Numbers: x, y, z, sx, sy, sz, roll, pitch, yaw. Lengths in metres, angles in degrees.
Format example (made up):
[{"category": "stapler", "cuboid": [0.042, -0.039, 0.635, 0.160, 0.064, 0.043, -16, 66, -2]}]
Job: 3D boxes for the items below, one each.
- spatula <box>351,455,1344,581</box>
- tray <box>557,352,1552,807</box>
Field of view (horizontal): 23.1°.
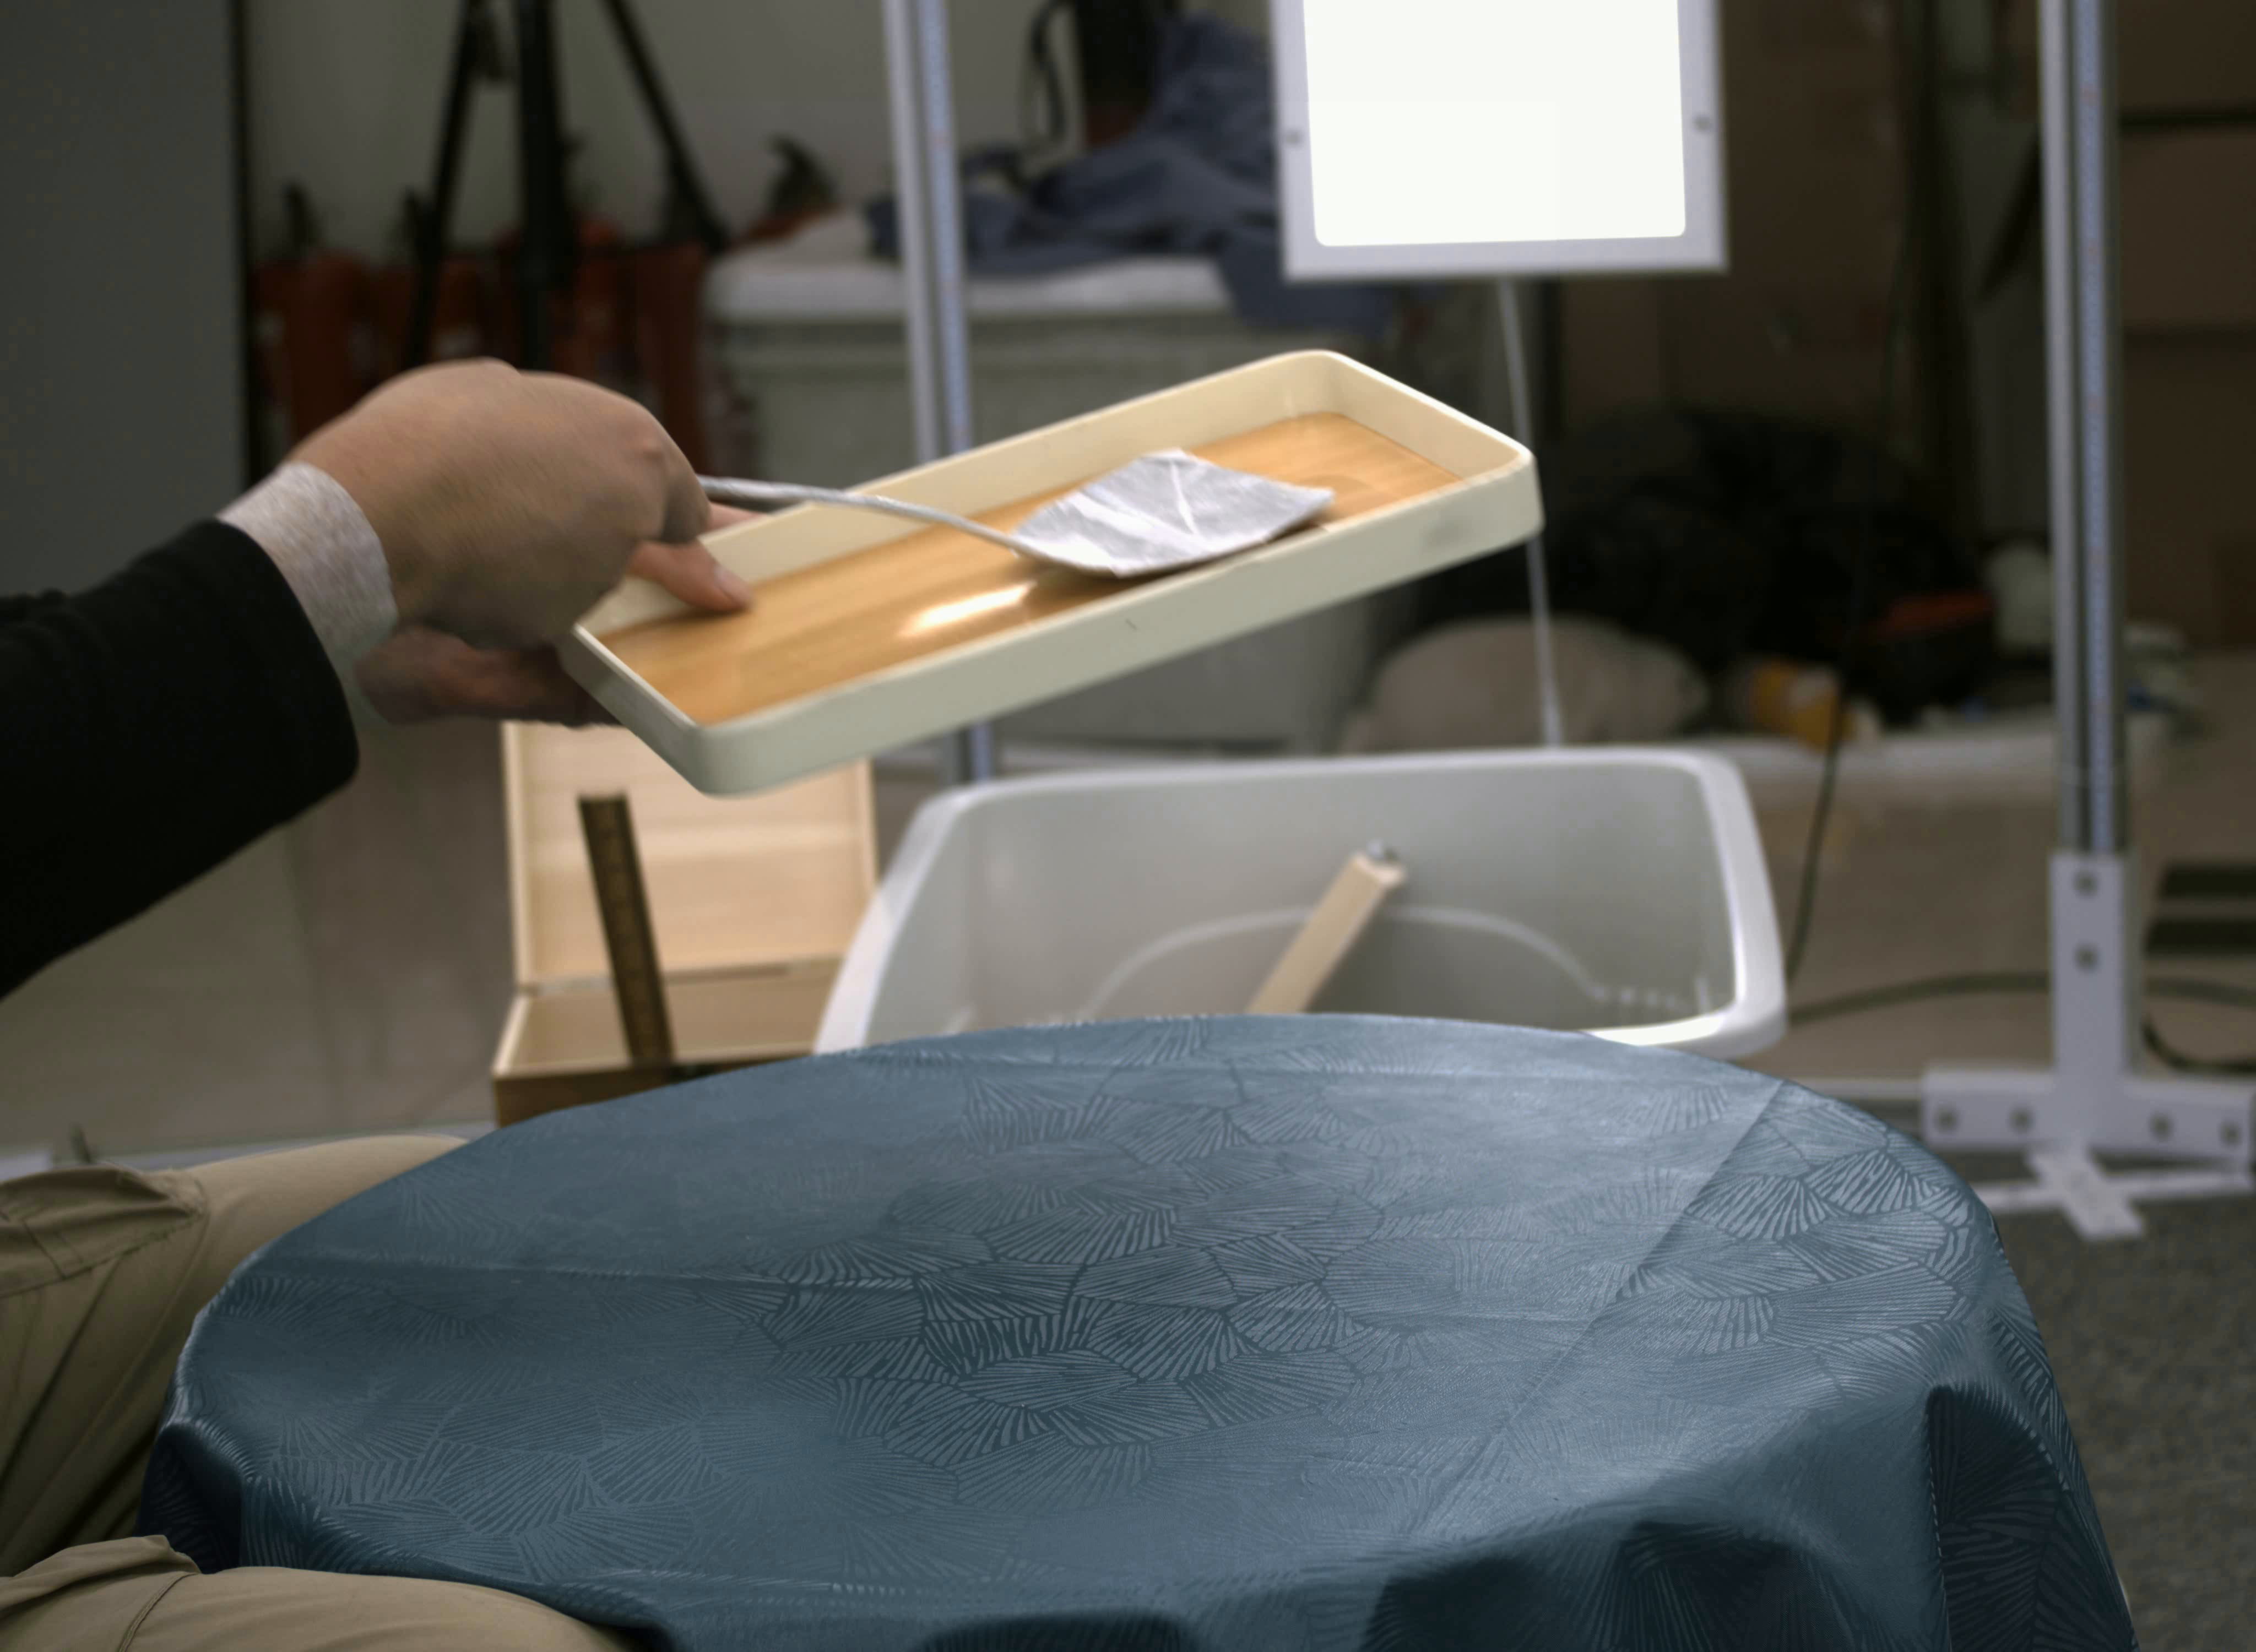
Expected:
[{"category": "spatula", "cuboid": [-0.086, -0.105, 1.753, 0.356, 0.045, 0.100, 3, 10, -40]}, {"category": "tray", "cuboid": [-0.027, -0.086, 1.830, 0.296, 0.027, 0.194, -19, 22, -14]}]
